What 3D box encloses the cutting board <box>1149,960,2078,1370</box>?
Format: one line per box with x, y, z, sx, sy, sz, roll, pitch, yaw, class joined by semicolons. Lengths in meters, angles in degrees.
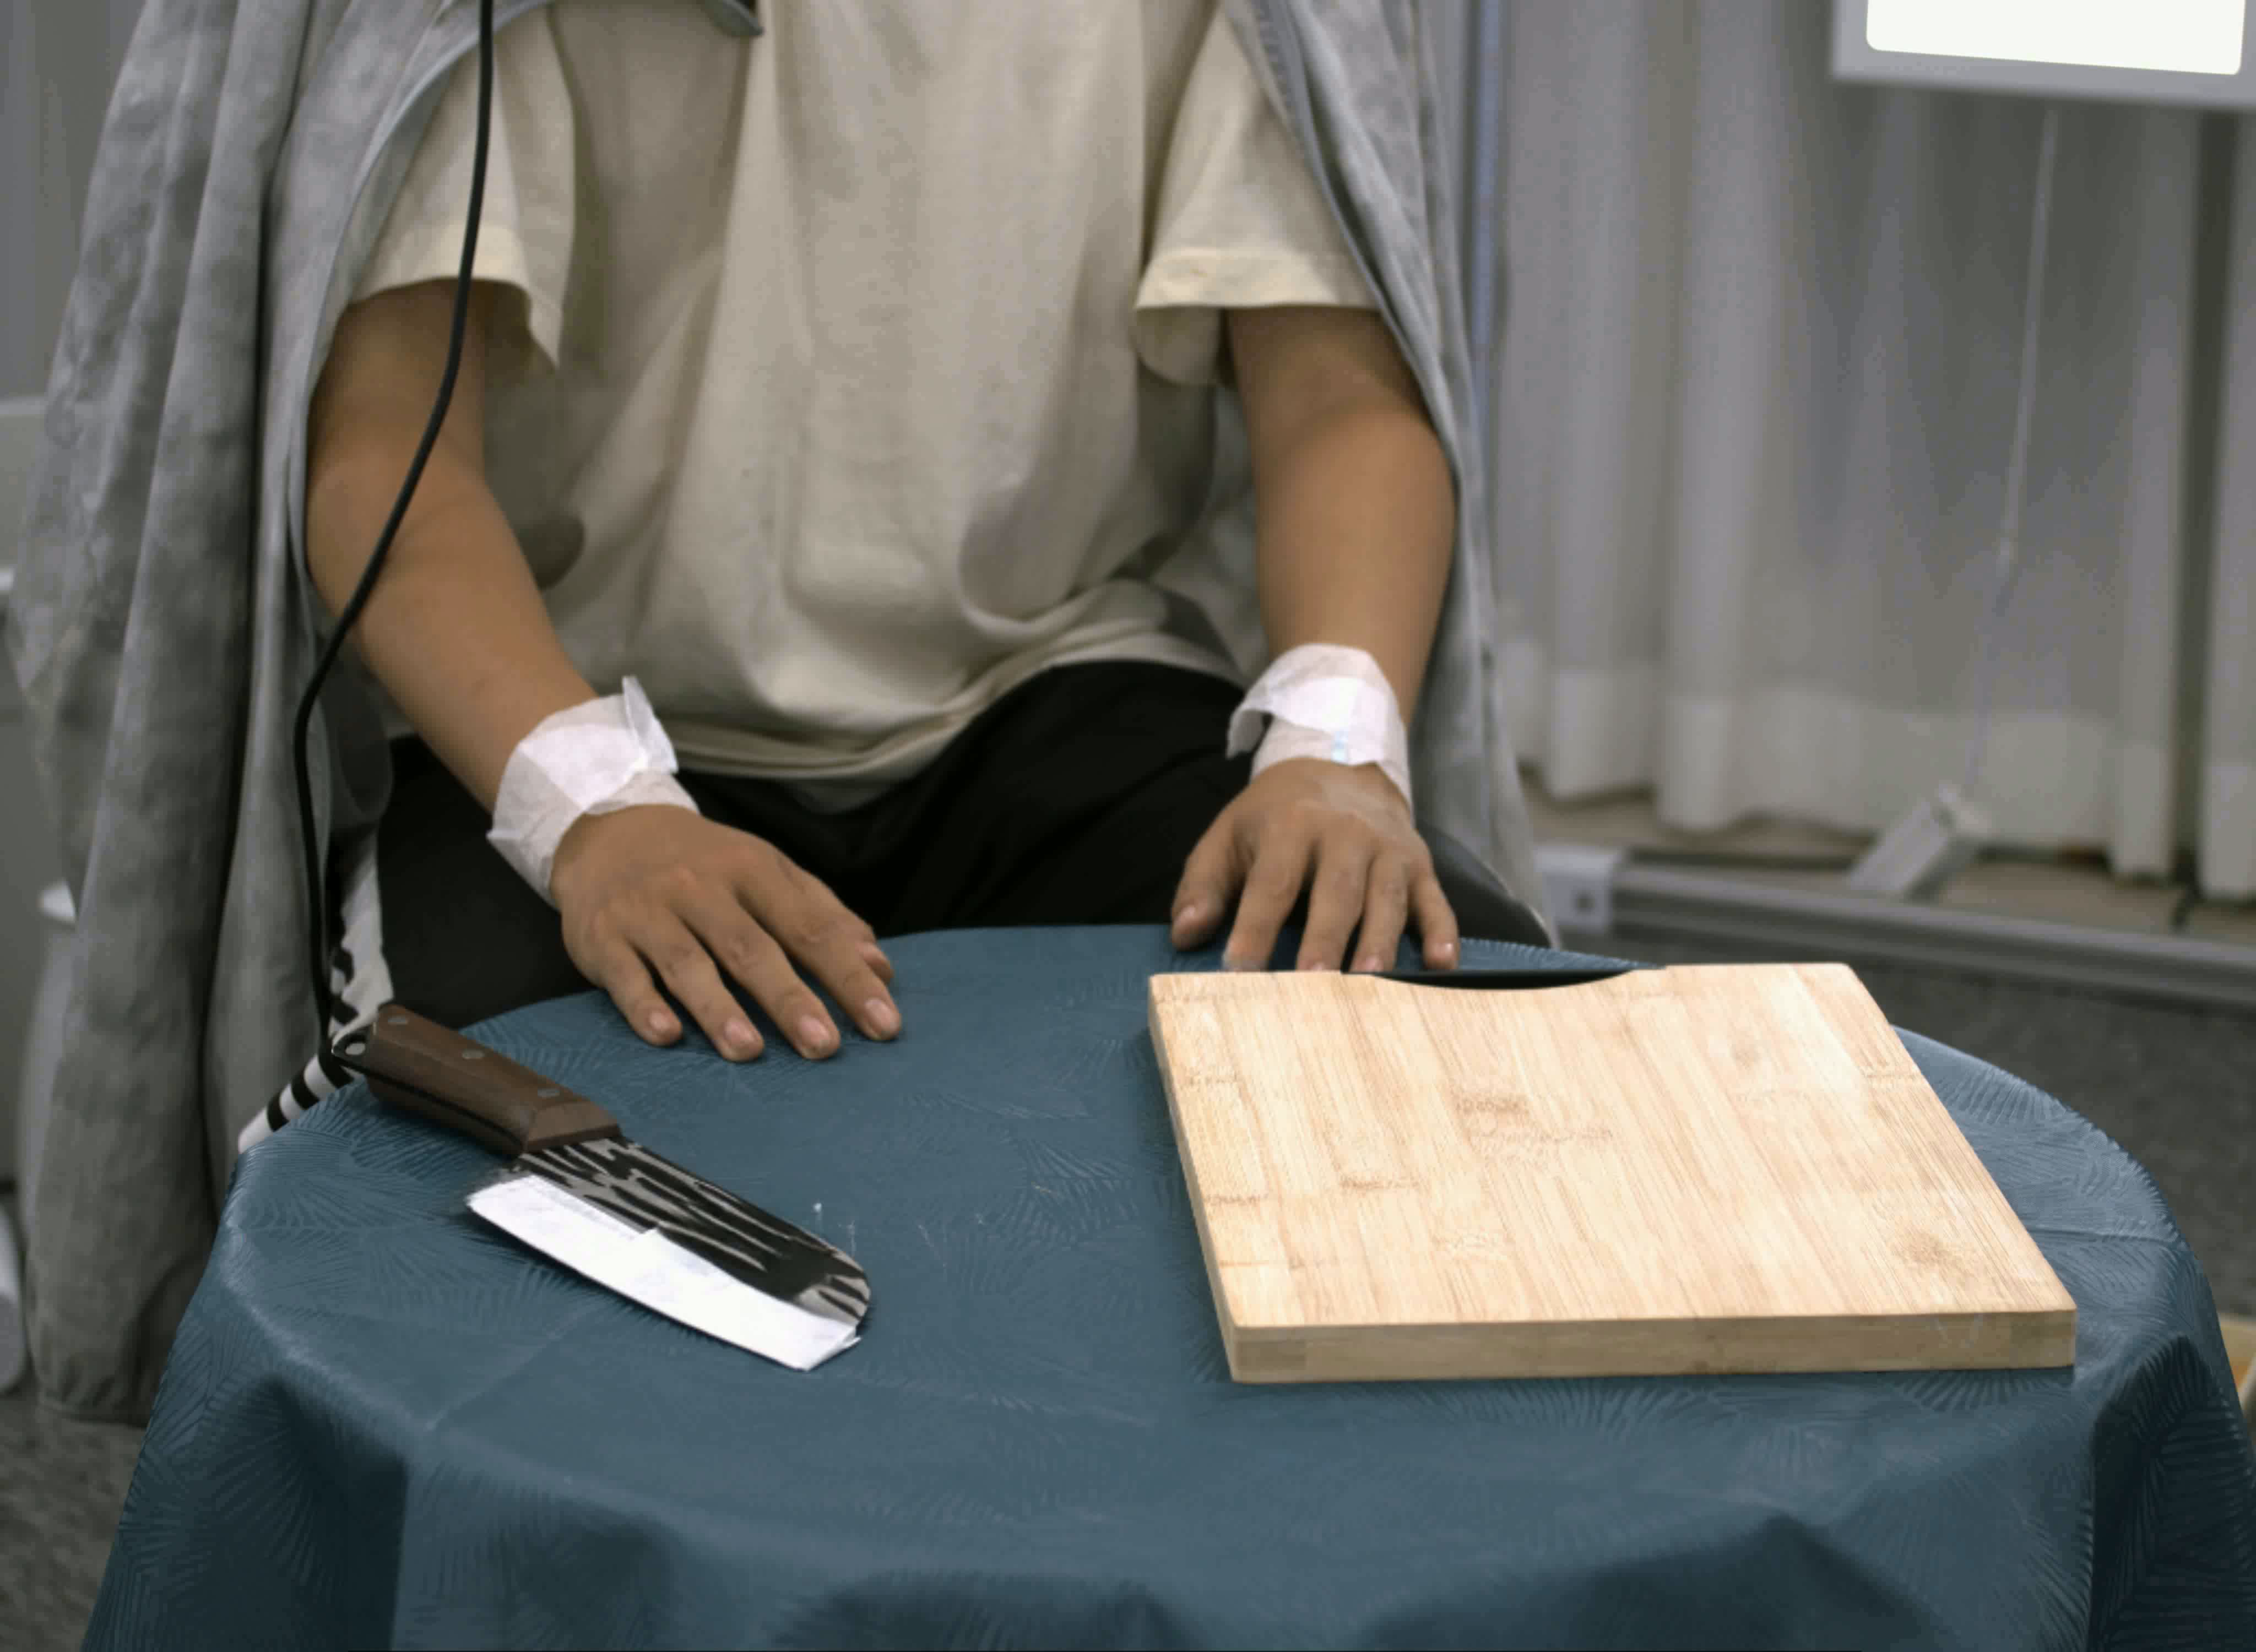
0.138;0.101;1.643;0.250;0.024;0.346;-1;15;-5;cutting board

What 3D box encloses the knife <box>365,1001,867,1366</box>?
-0.167;0.108;1.597;0.068;0.024;0.295;-14;24;-36;knife
